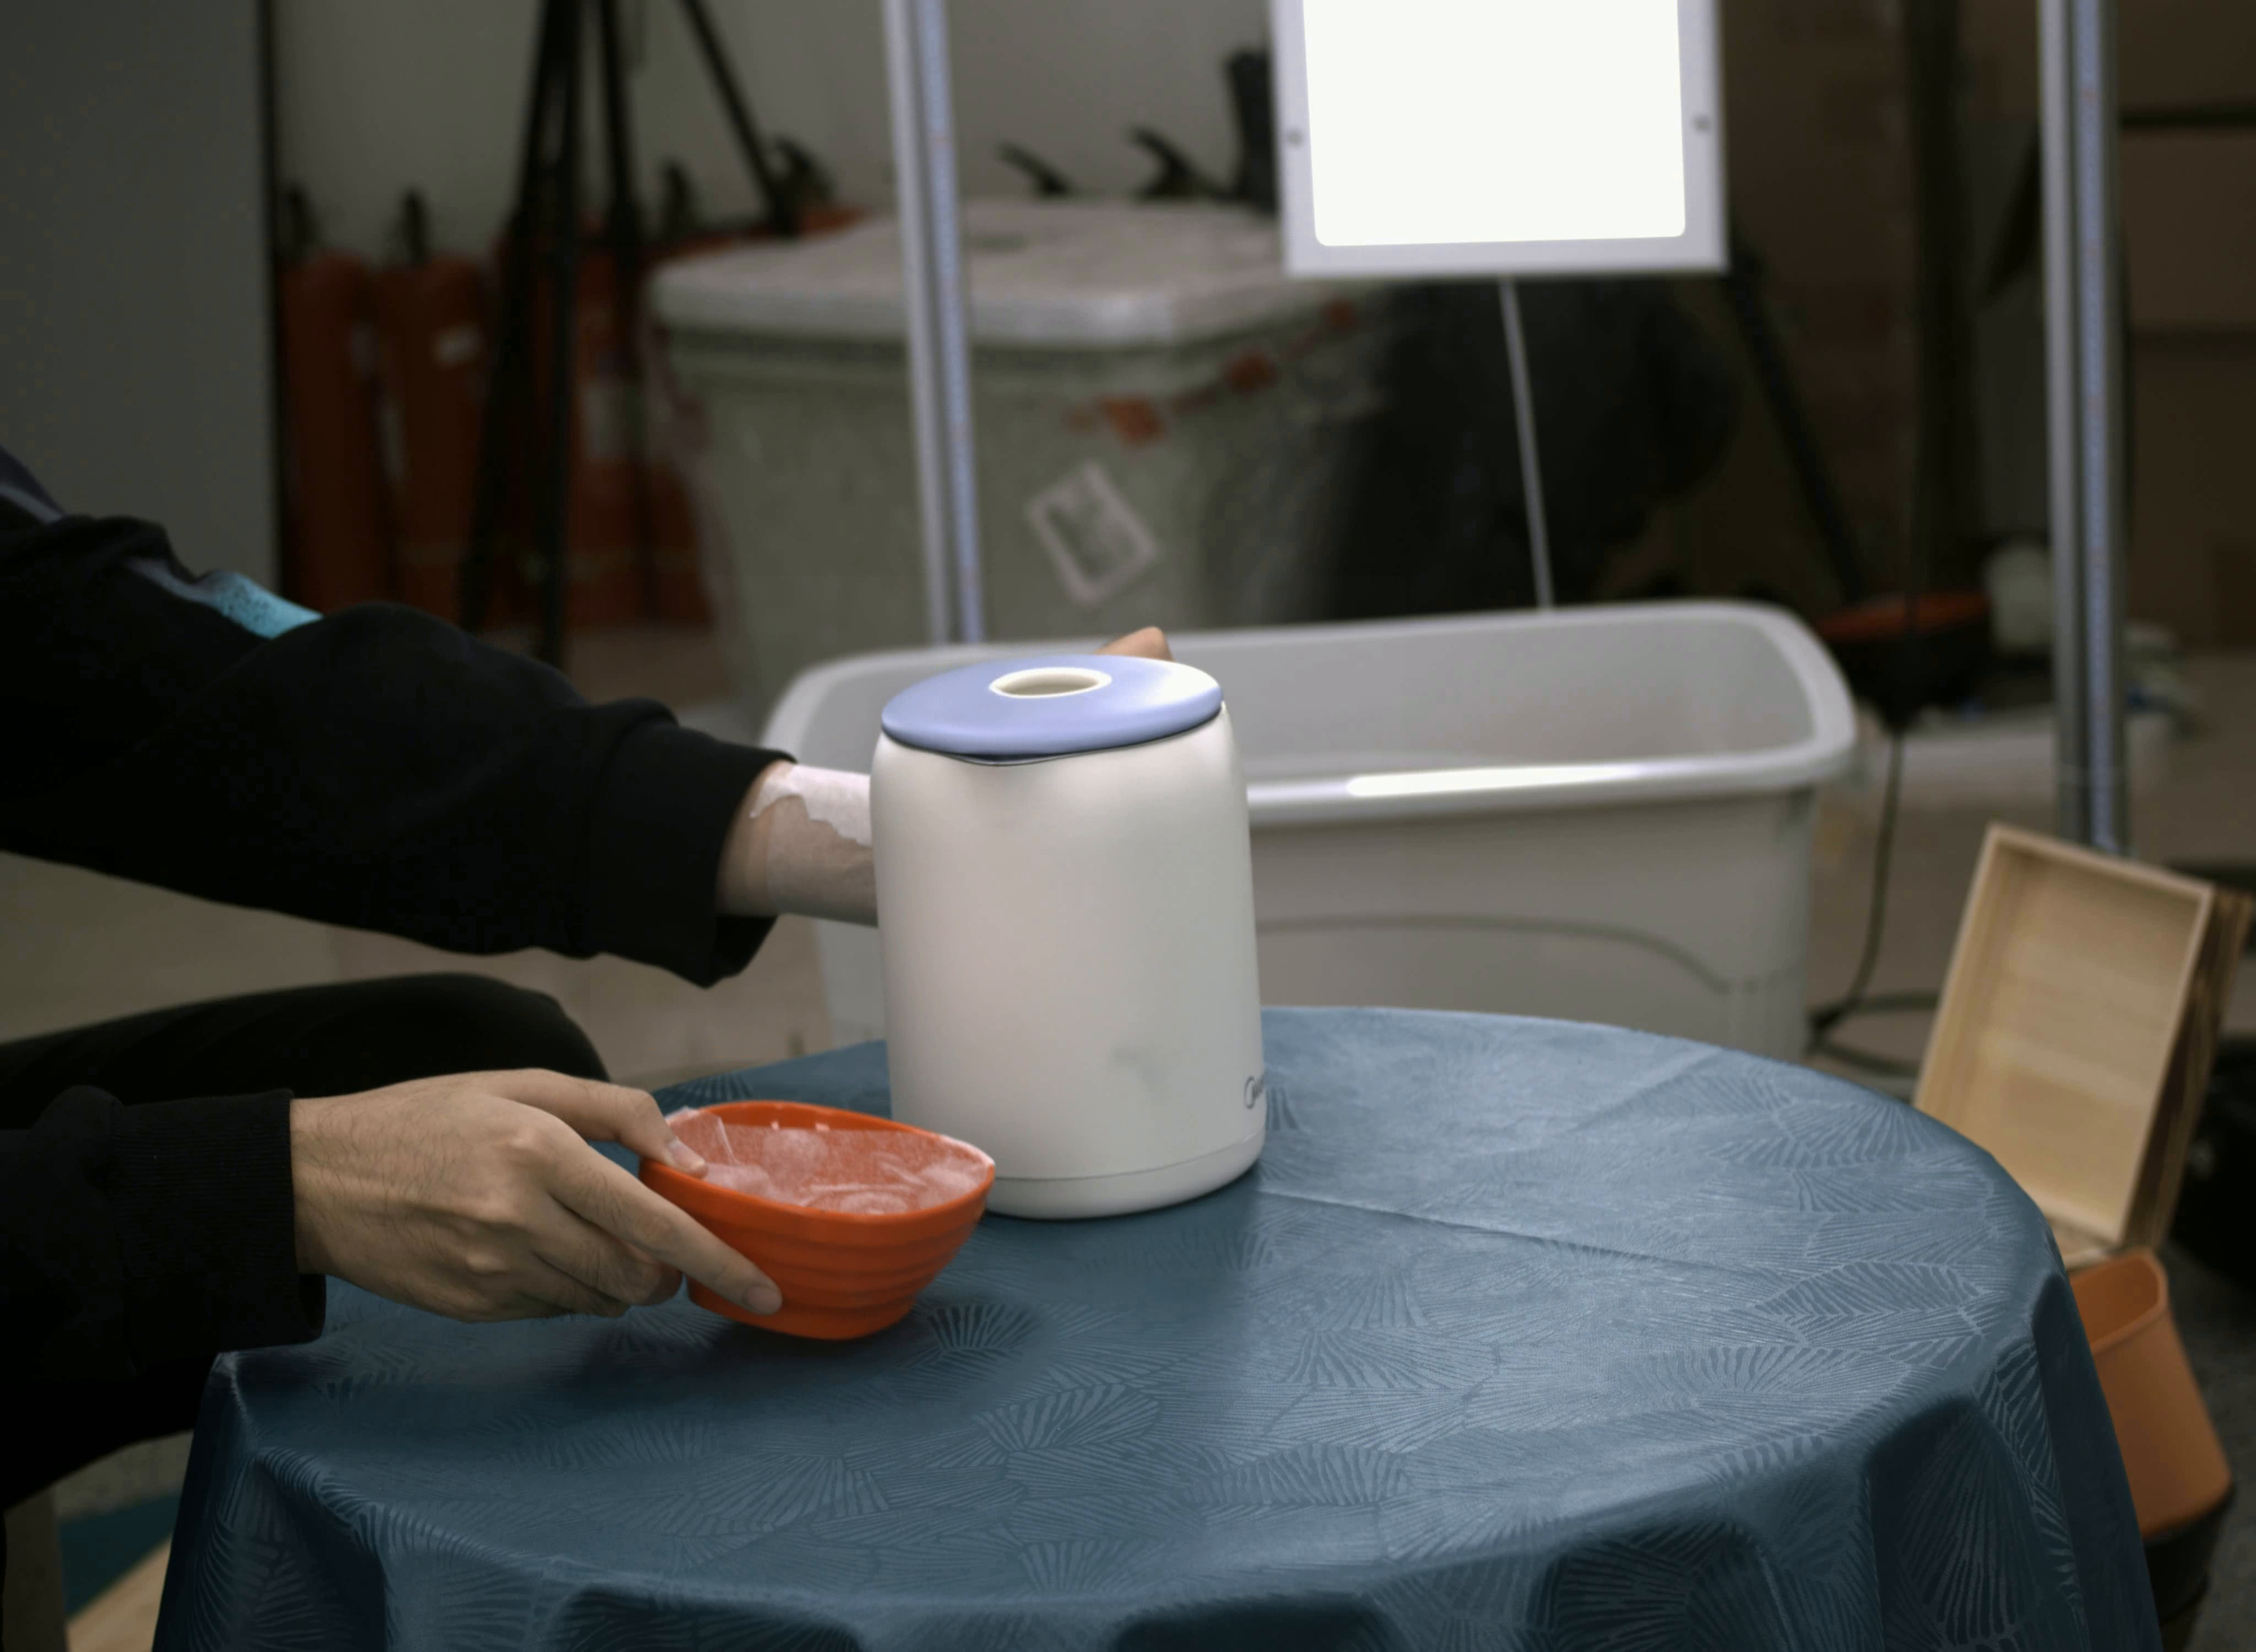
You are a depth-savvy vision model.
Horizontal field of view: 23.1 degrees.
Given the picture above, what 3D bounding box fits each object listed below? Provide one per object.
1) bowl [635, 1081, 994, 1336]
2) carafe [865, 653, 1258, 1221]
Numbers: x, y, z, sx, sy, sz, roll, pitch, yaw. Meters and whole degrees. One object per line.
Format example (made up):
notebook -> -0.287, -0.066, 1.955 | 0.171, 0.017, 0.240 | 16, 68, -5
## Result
bowl -> -0.104, 0.126, 1.780 | 0.118, 0.052, 0.119 | 7, 17, -4
carafe -> -0.017, 0.032, 1.925 | 0.133, 0.183, 0.188 | 1, 13, 14
